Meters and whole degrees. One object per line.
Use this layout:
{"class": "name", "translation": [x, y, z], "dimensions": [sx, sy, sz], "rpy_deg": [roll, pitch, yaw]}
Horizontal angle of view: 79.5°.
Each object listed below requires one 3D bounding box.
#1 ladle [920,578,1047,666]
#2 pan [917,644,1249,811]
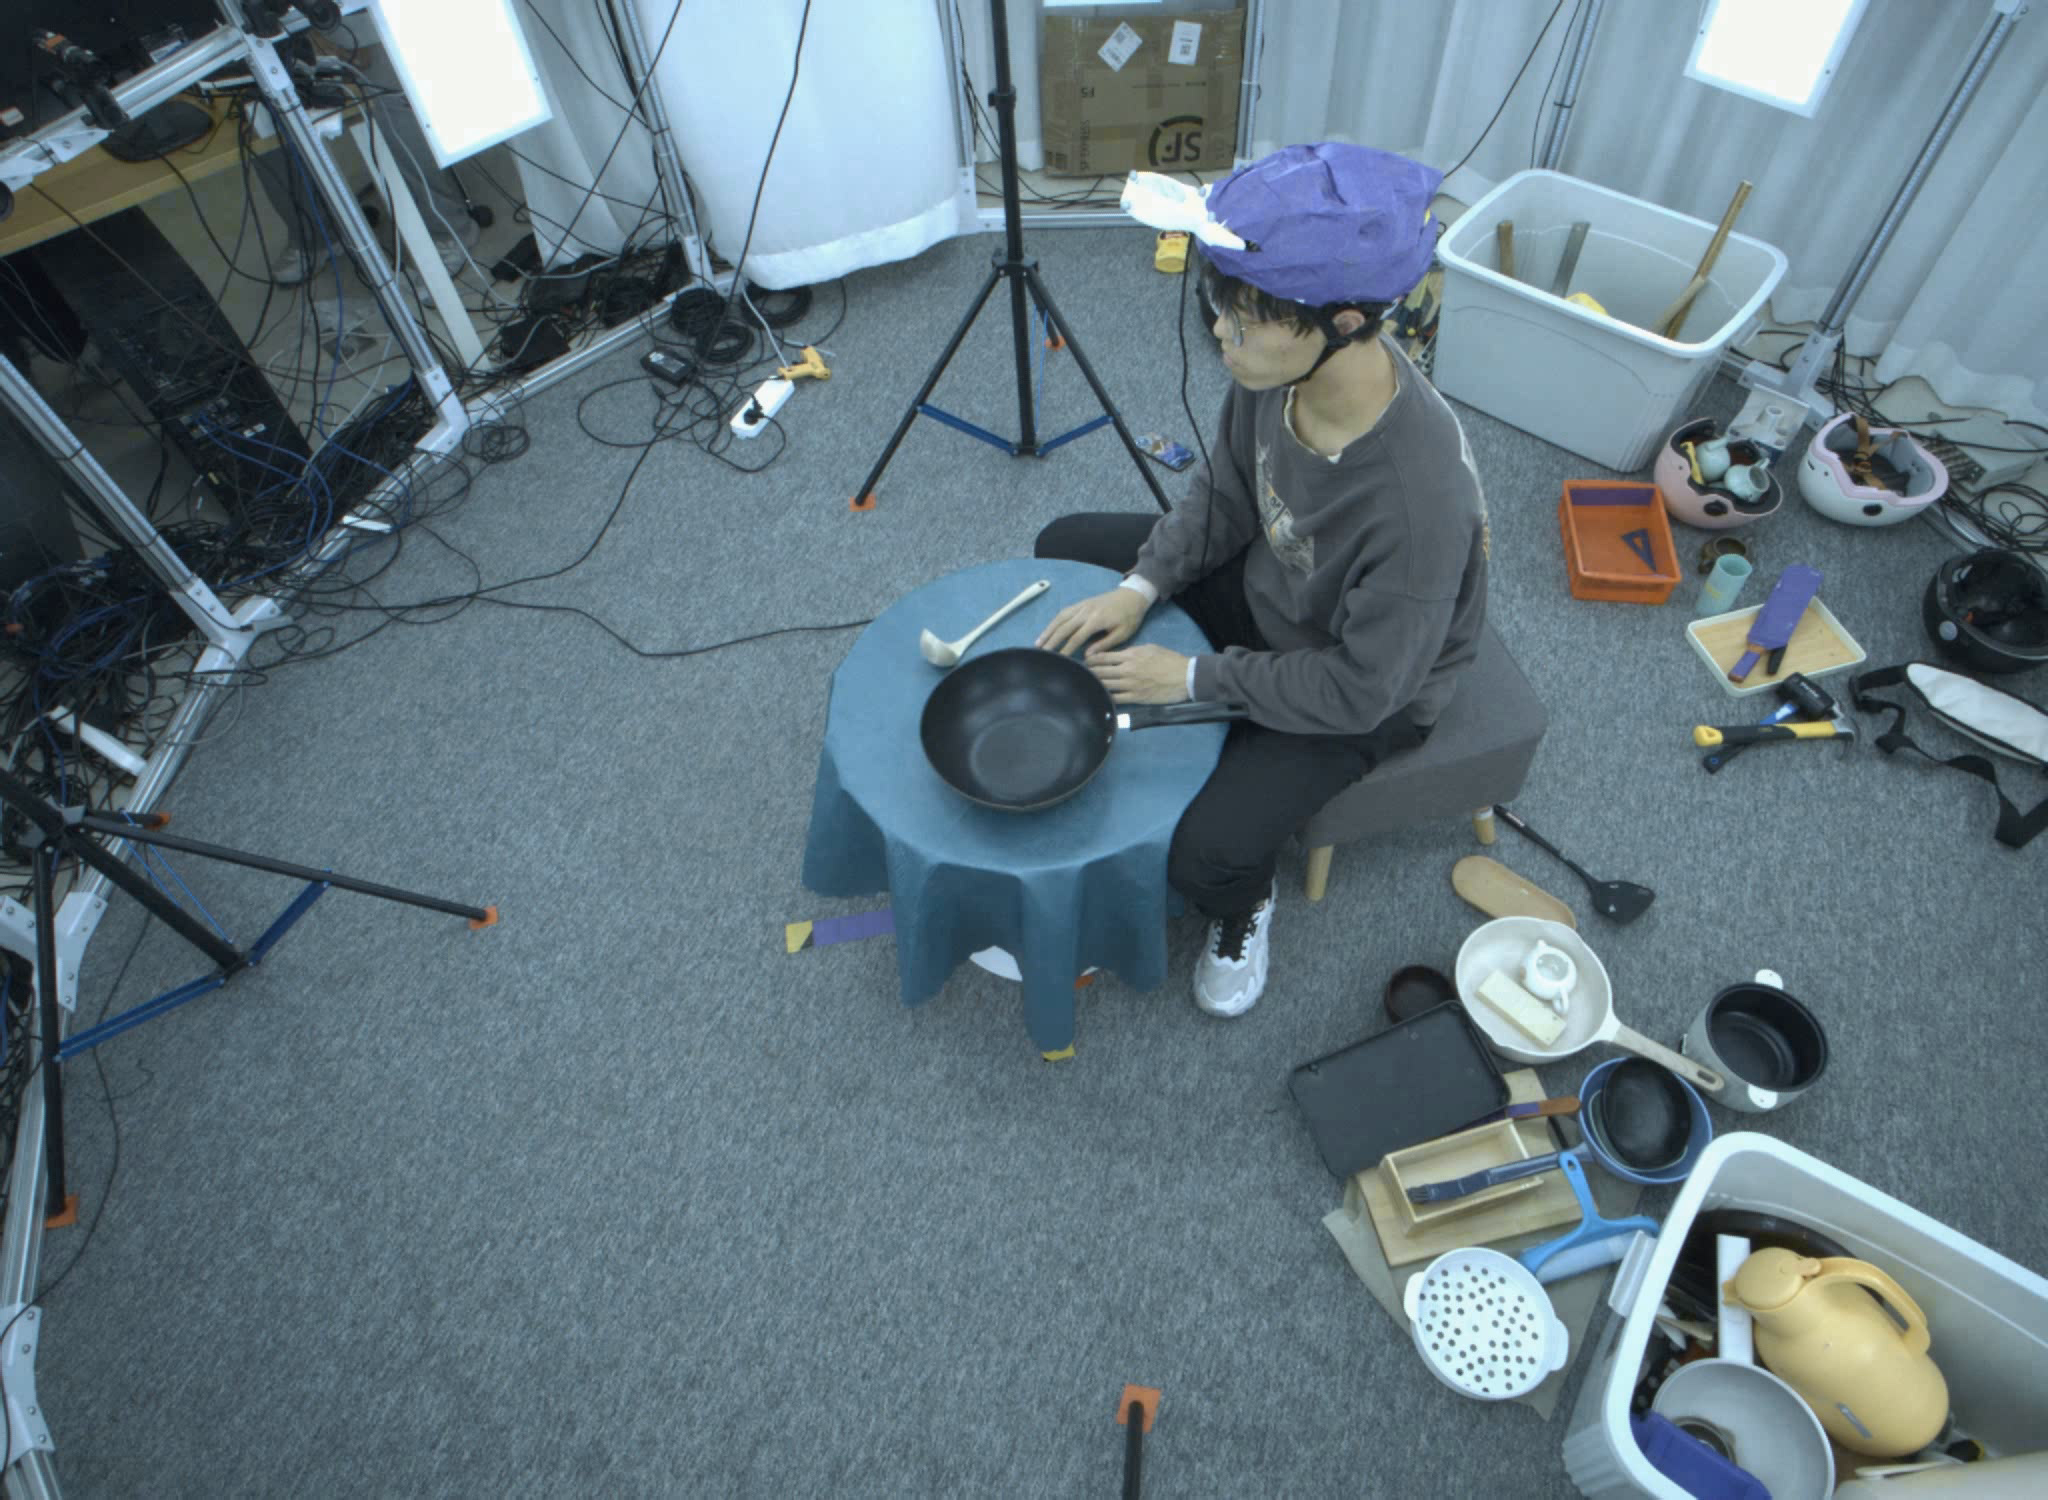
{"class": "ladle", "translation": [-0.057, -0.221, 1.901], "dimensions": [0.070, 0.074, 0.256], "rpy_deg": [33, 62, 30]}
{"class": "pan", "translation": [0.084, -0.023, 1.747], "dimensions": [0.464, 0.088, 0.285], "rpy_deg": [-3, 54, -1]}
